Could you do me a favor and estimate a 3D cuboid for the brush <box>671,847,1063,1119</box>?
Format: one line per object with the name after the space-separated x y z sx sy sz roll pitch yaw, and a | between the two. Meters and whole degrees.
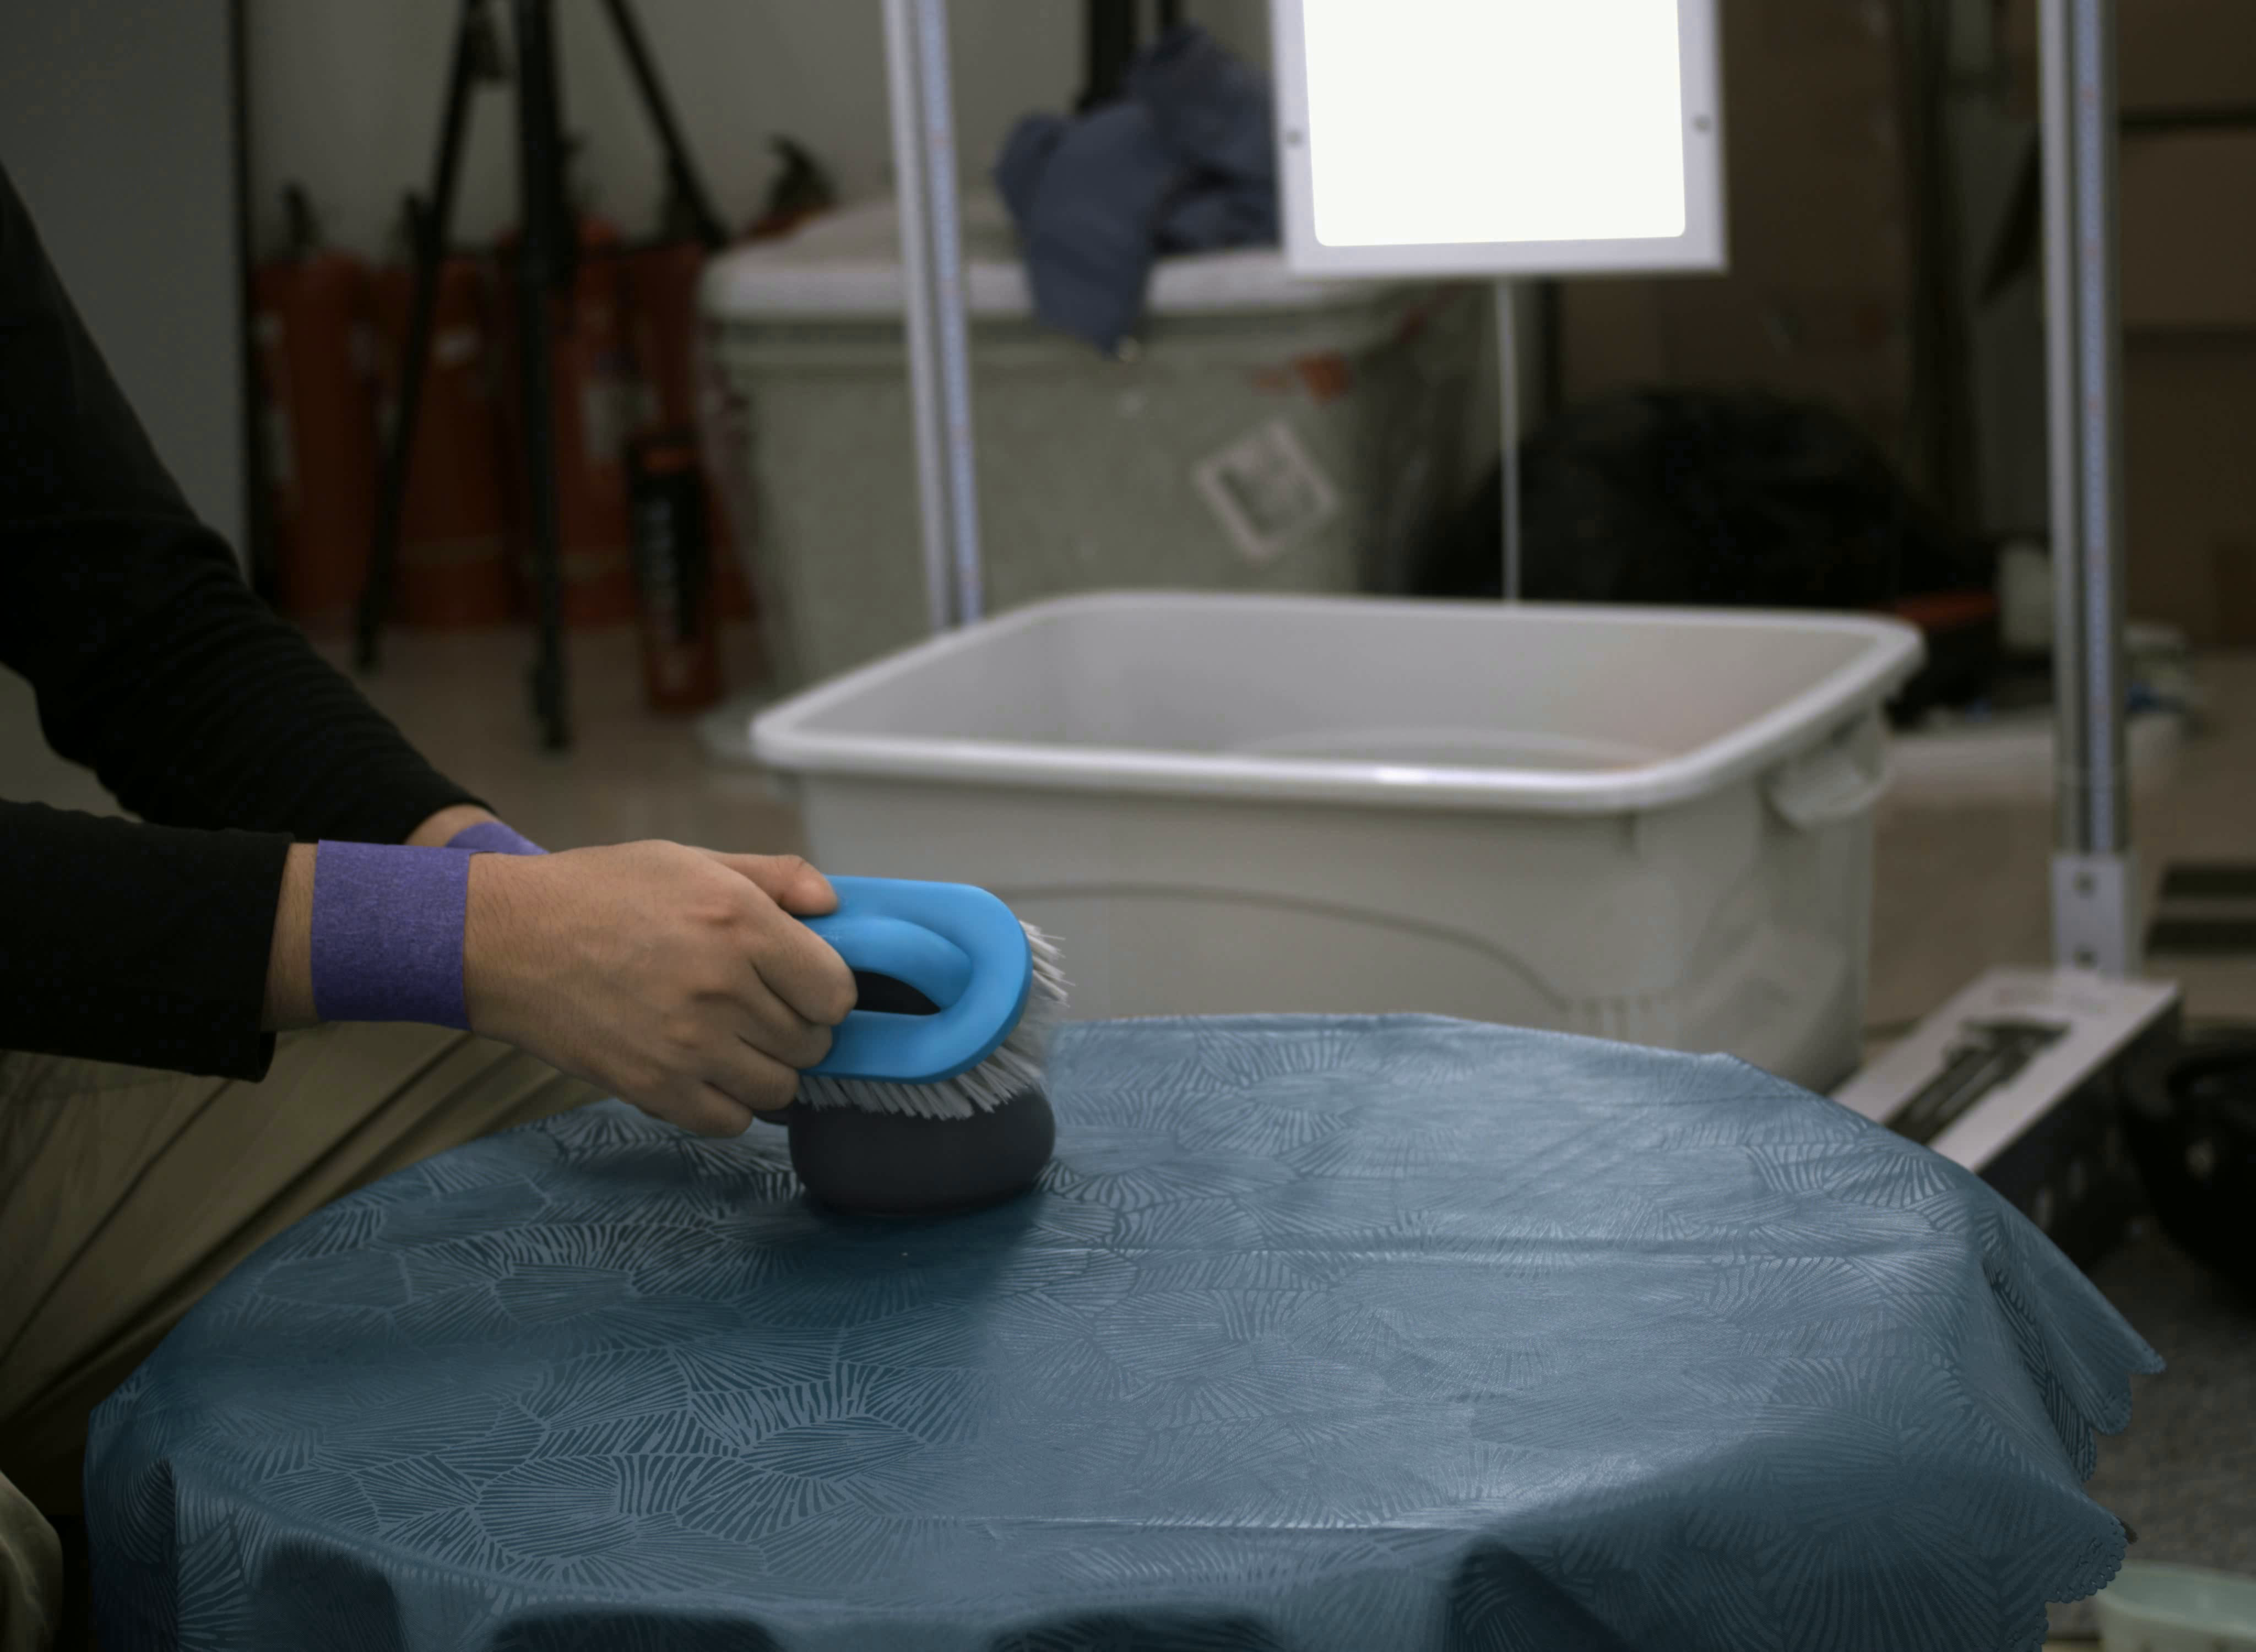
-0.096 0.046 1.860 0.144 0.084 0.063 5 -20 31 | brush

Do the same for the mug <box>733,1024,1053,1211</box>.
-0.086 0.079 1.924 0.125 0.090 0.091 7 17 33 | mug
